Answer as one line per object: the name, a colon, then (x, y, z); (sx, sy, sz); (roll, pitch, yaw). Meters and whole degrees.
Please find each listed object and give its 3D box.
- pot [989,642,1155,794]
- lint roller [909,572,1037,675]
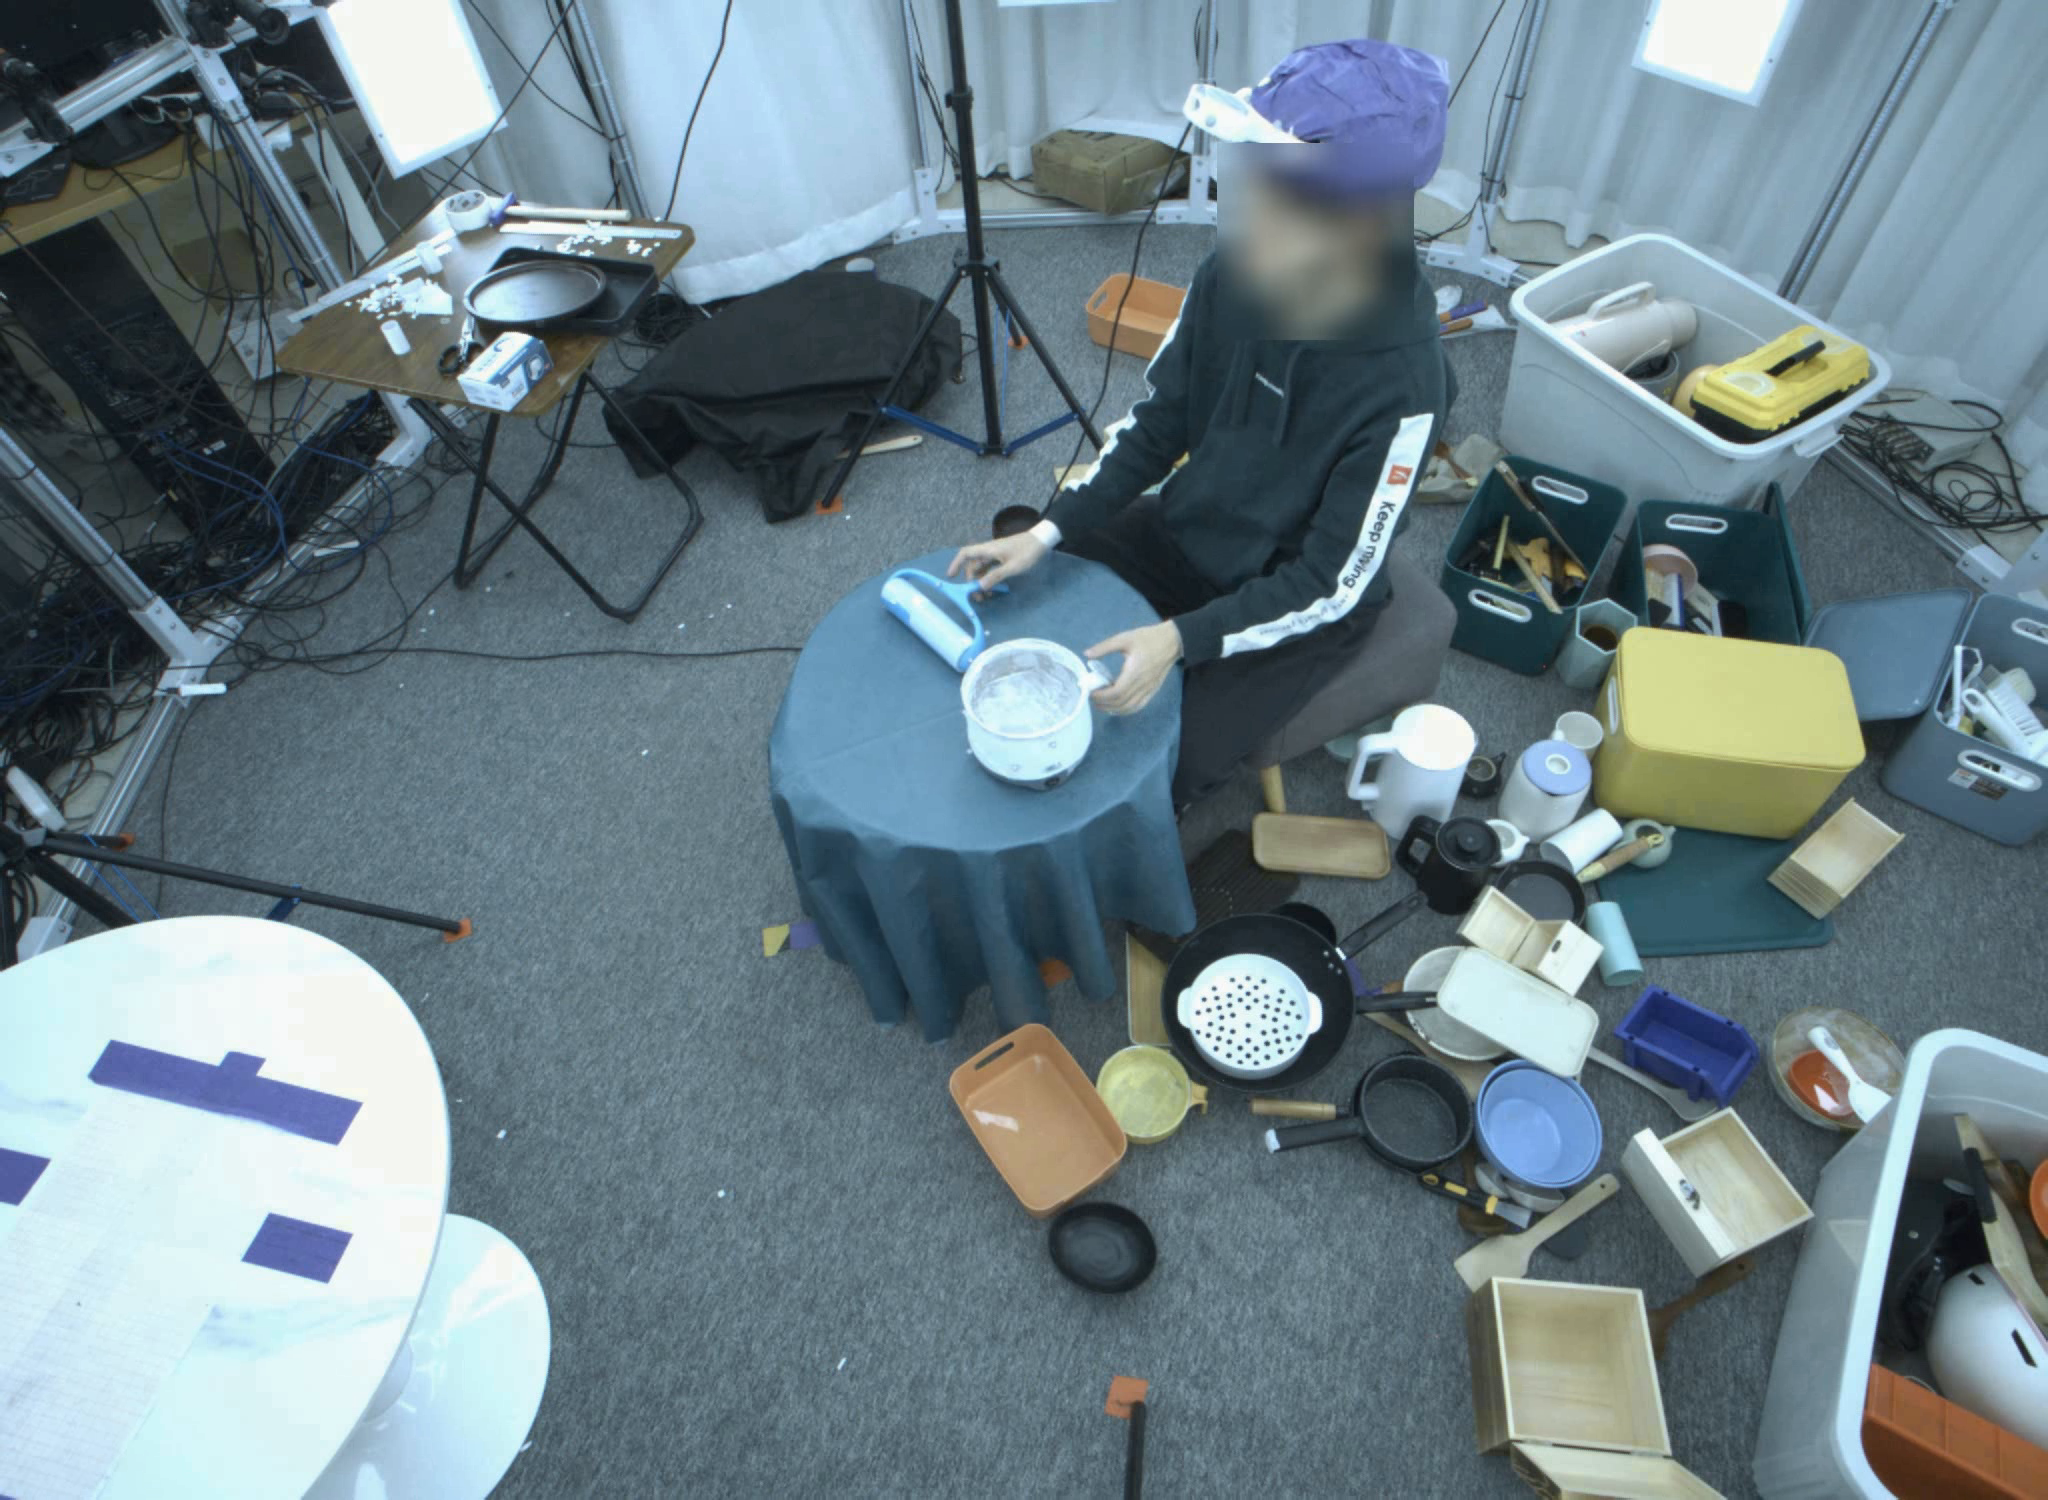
pot: (0.072, -0.053, 1.730); (0.235, 0.138, 0.175); (-19, 56, -9)
lint roller: (-0.056, -0.225, 1.910); (0.181, 0.069, 0.224); (-39, 60, -21)
